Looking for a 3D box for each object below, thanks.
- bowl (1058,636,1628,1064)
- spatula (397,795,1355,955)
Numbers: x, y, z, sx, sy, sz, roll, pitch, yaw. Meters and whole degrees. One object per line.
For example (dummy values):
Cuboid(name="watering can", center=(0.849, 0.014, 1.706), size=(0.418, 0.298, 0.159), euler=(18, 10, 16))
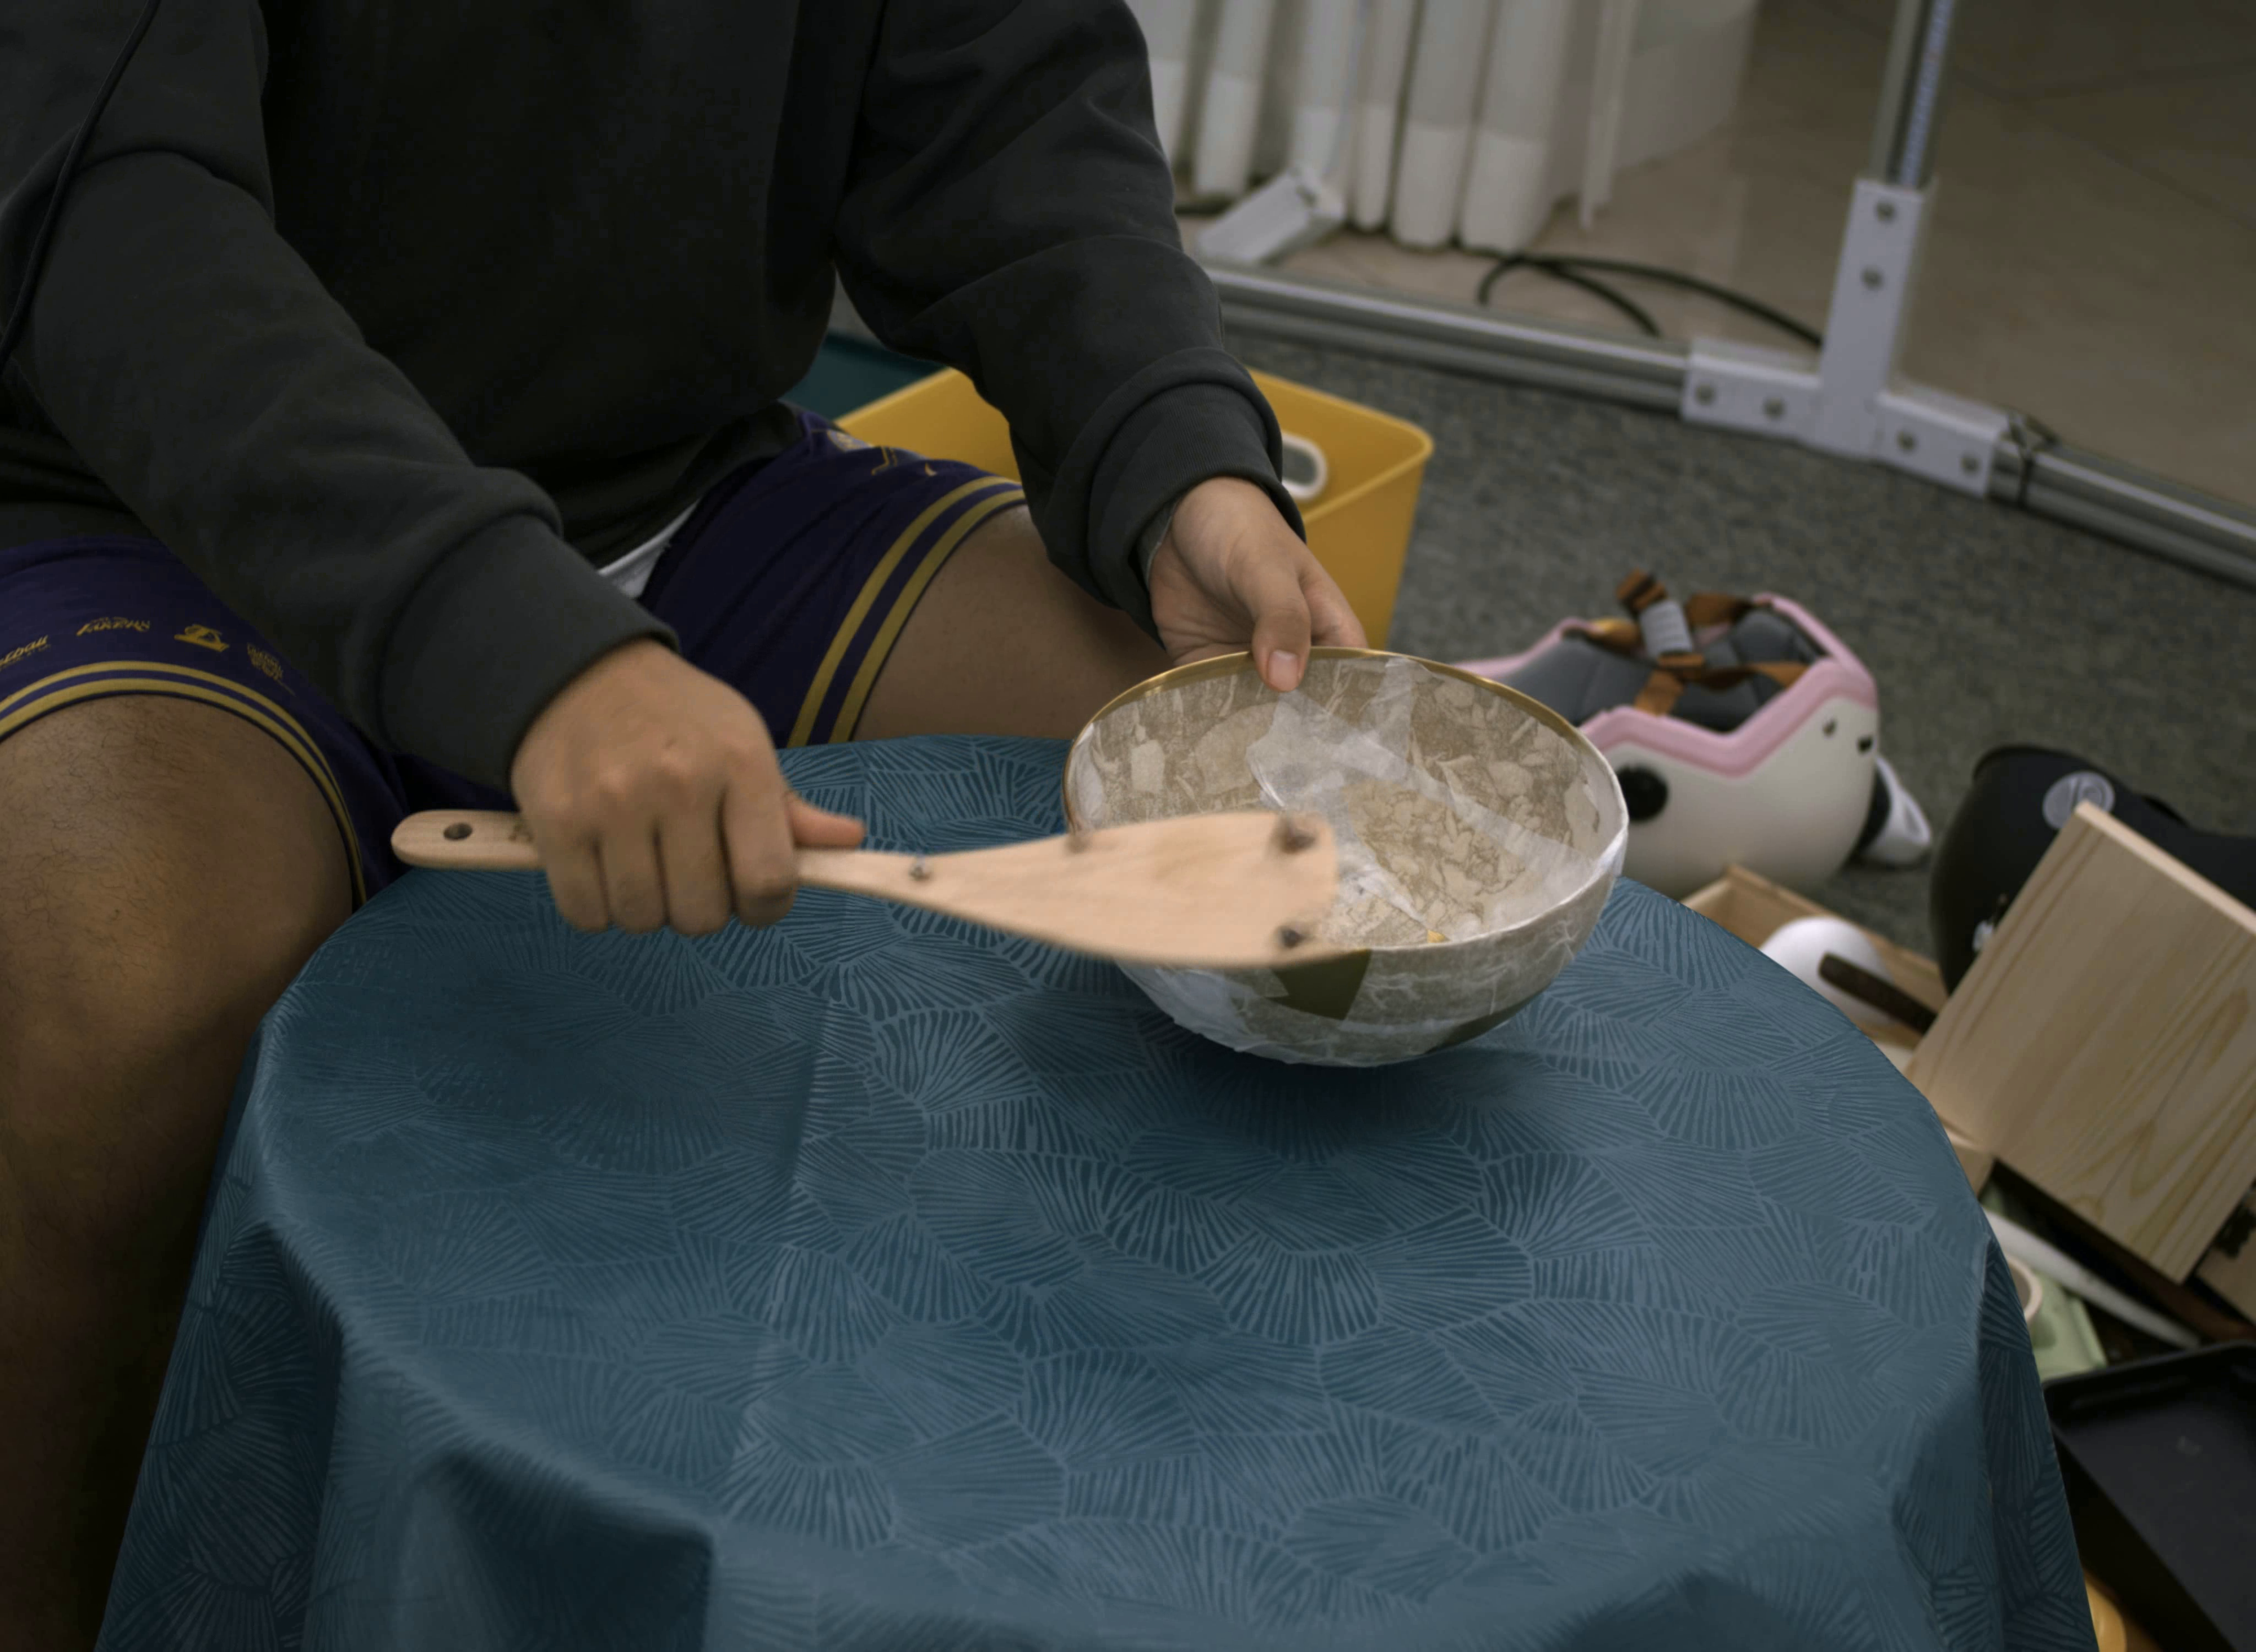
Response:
Cuboid(name="bowl", center=(0.072, 0.020, 1.907), size=(0.214, 0.094, 0.216), euler=(2, 33, -2))
Cuboid(name="spatula", center=(-0.084, 0.009, 1.762), size=(0.327, 0.016, 0.080), euler=(4, 39, 9))
